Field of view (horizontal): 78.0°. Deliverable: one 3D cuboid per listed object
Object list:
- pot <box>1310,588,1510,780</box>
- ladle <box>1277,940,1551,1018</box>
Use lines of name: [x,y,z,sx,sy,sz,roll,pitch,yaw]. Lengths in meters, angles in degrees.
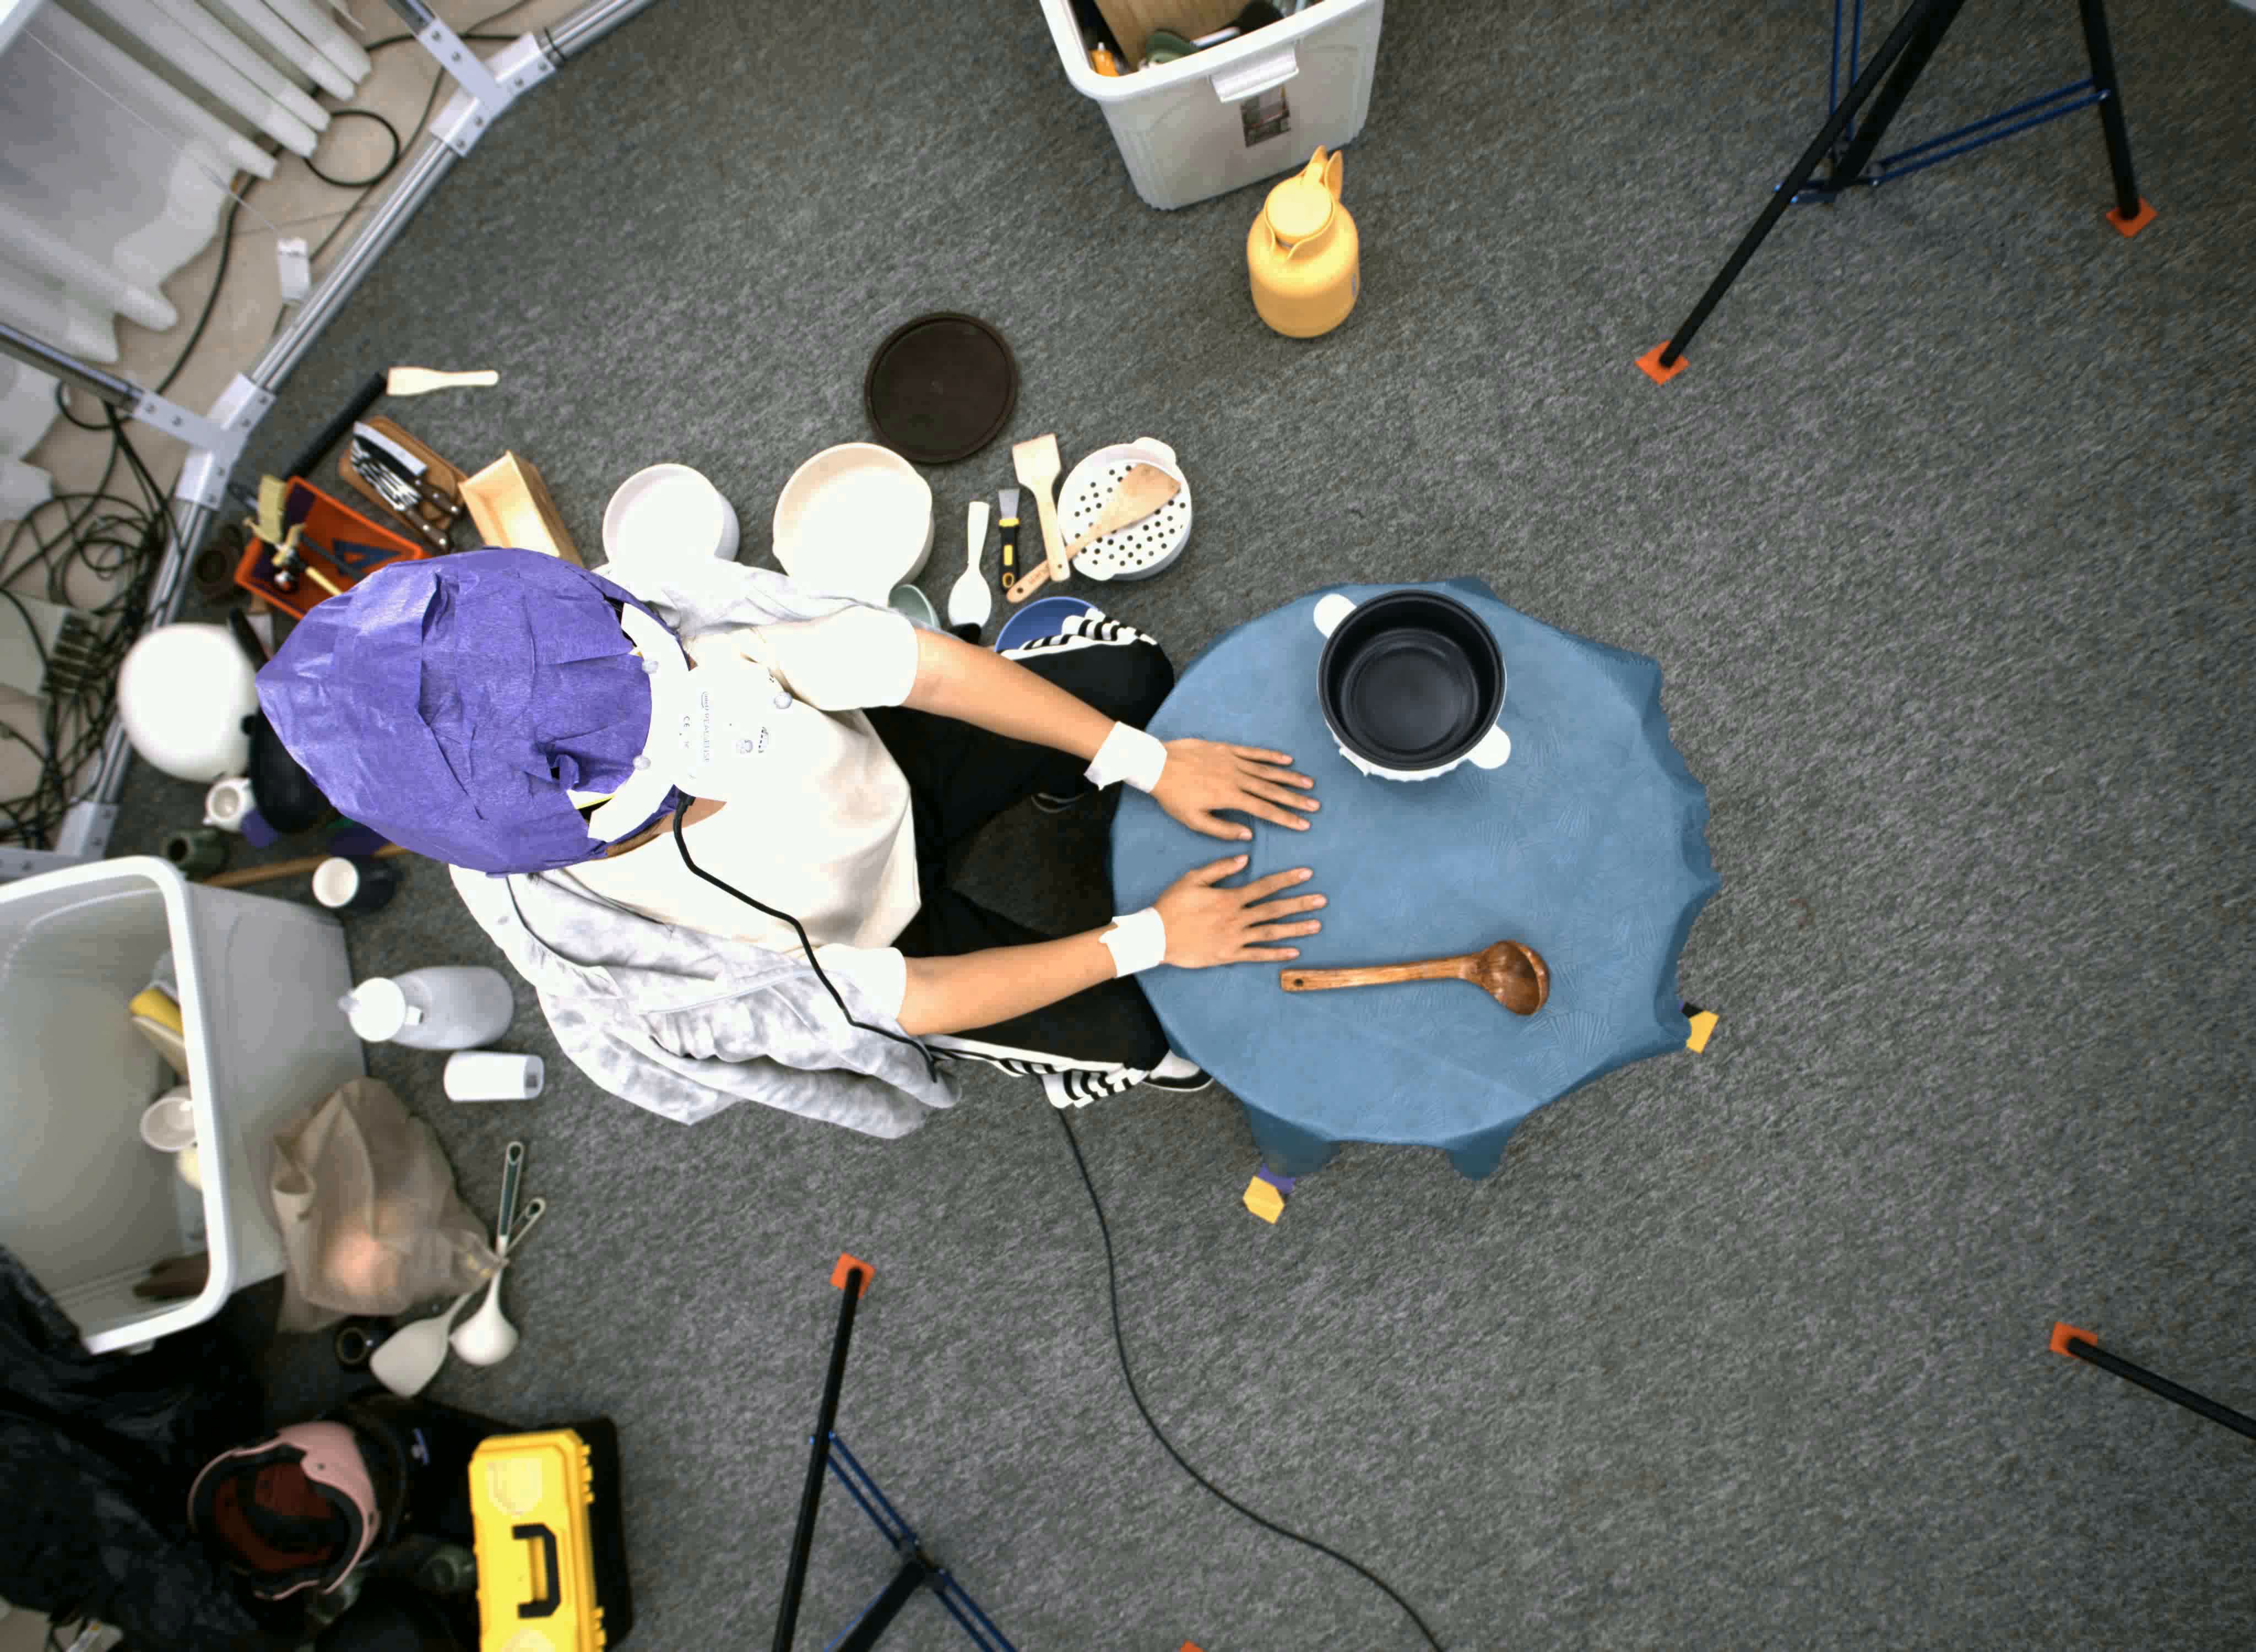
pot: [0.288,-0.143,1.395,0.239,0.142,0.192,42,98,9]
ladle: [0.289,0.158,1.411,0.275,0.075,0.083,-4,109,9]
